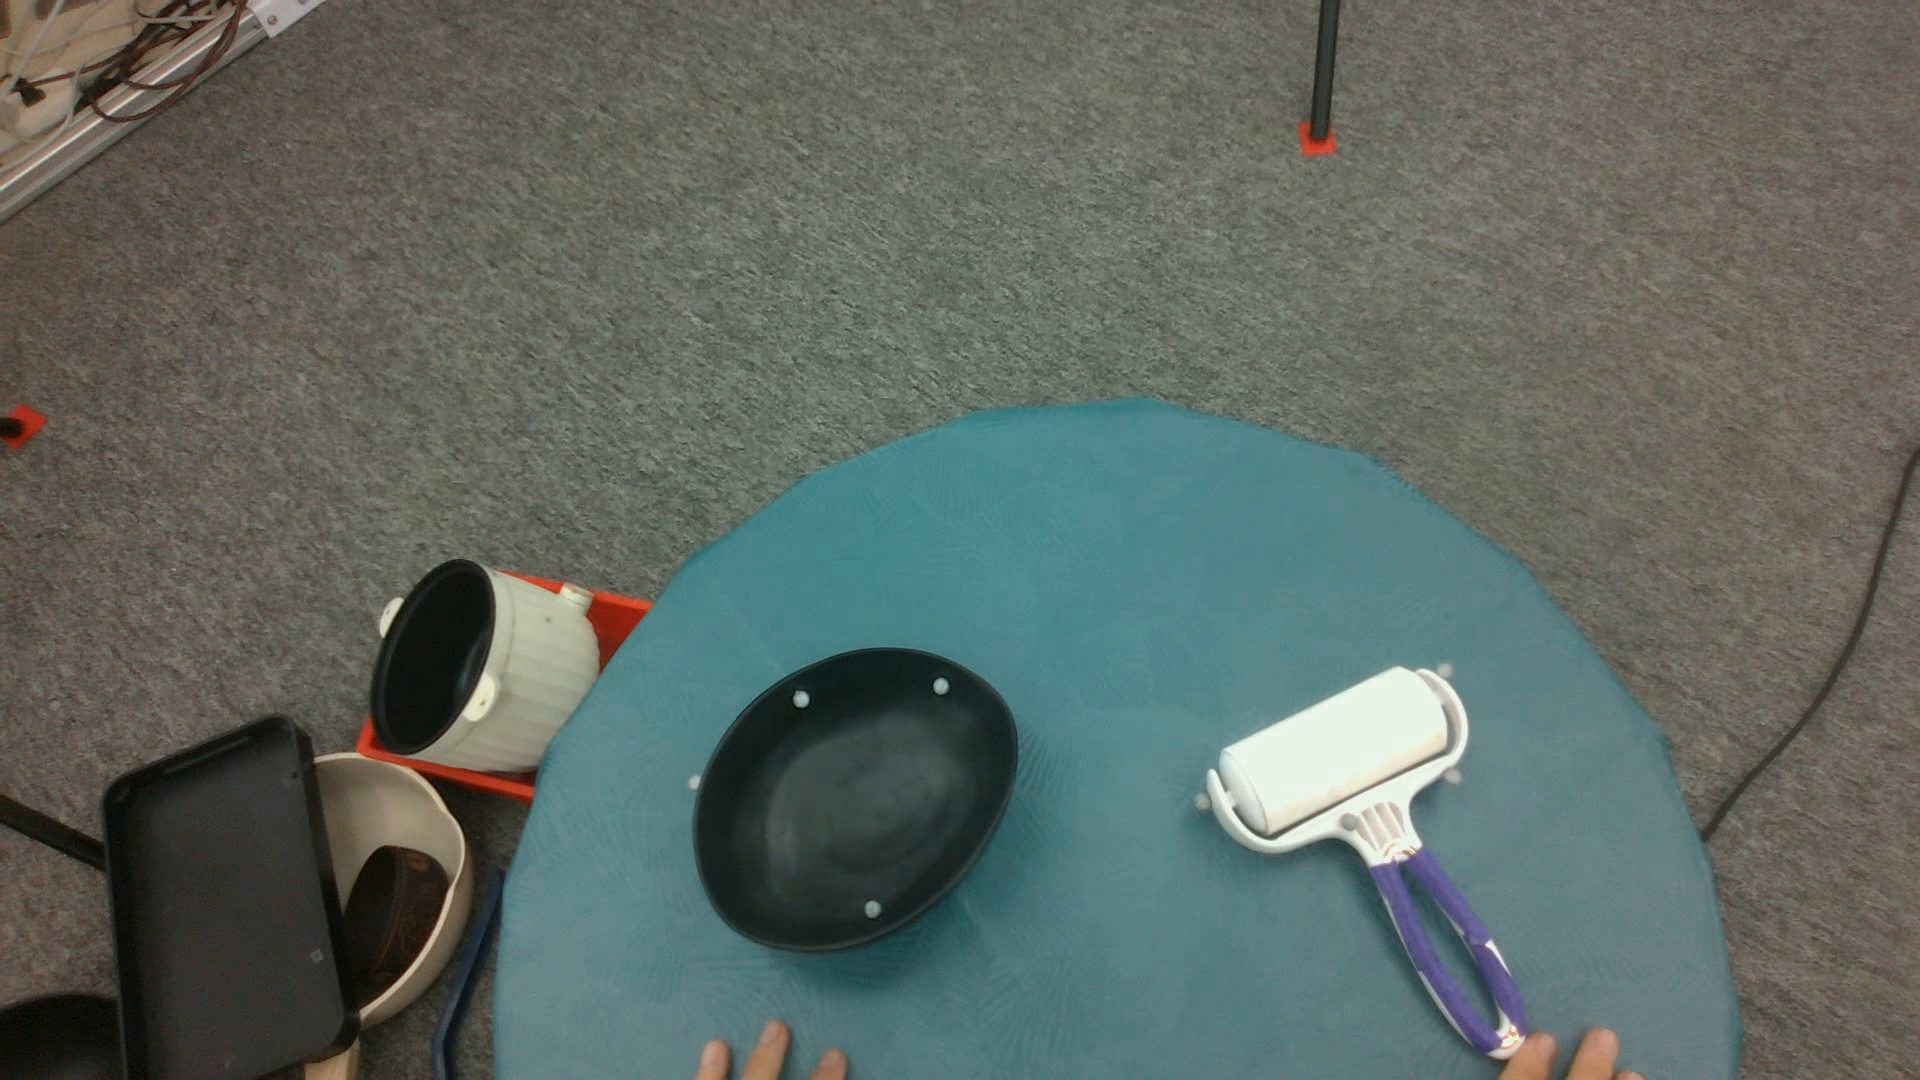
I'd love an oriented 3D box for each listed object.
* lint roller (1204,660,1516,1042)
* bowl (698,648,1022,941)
[{"bbox_3d":[0.211,0.154,0.666,0.133,0.050,0.181,-22,59,-6],"label":"lint roller"},{"bbox_3d":[-0.047,0.131,0.698,0.171,0.066,0.137,-37,65,-15],"label":"bowl"}]
